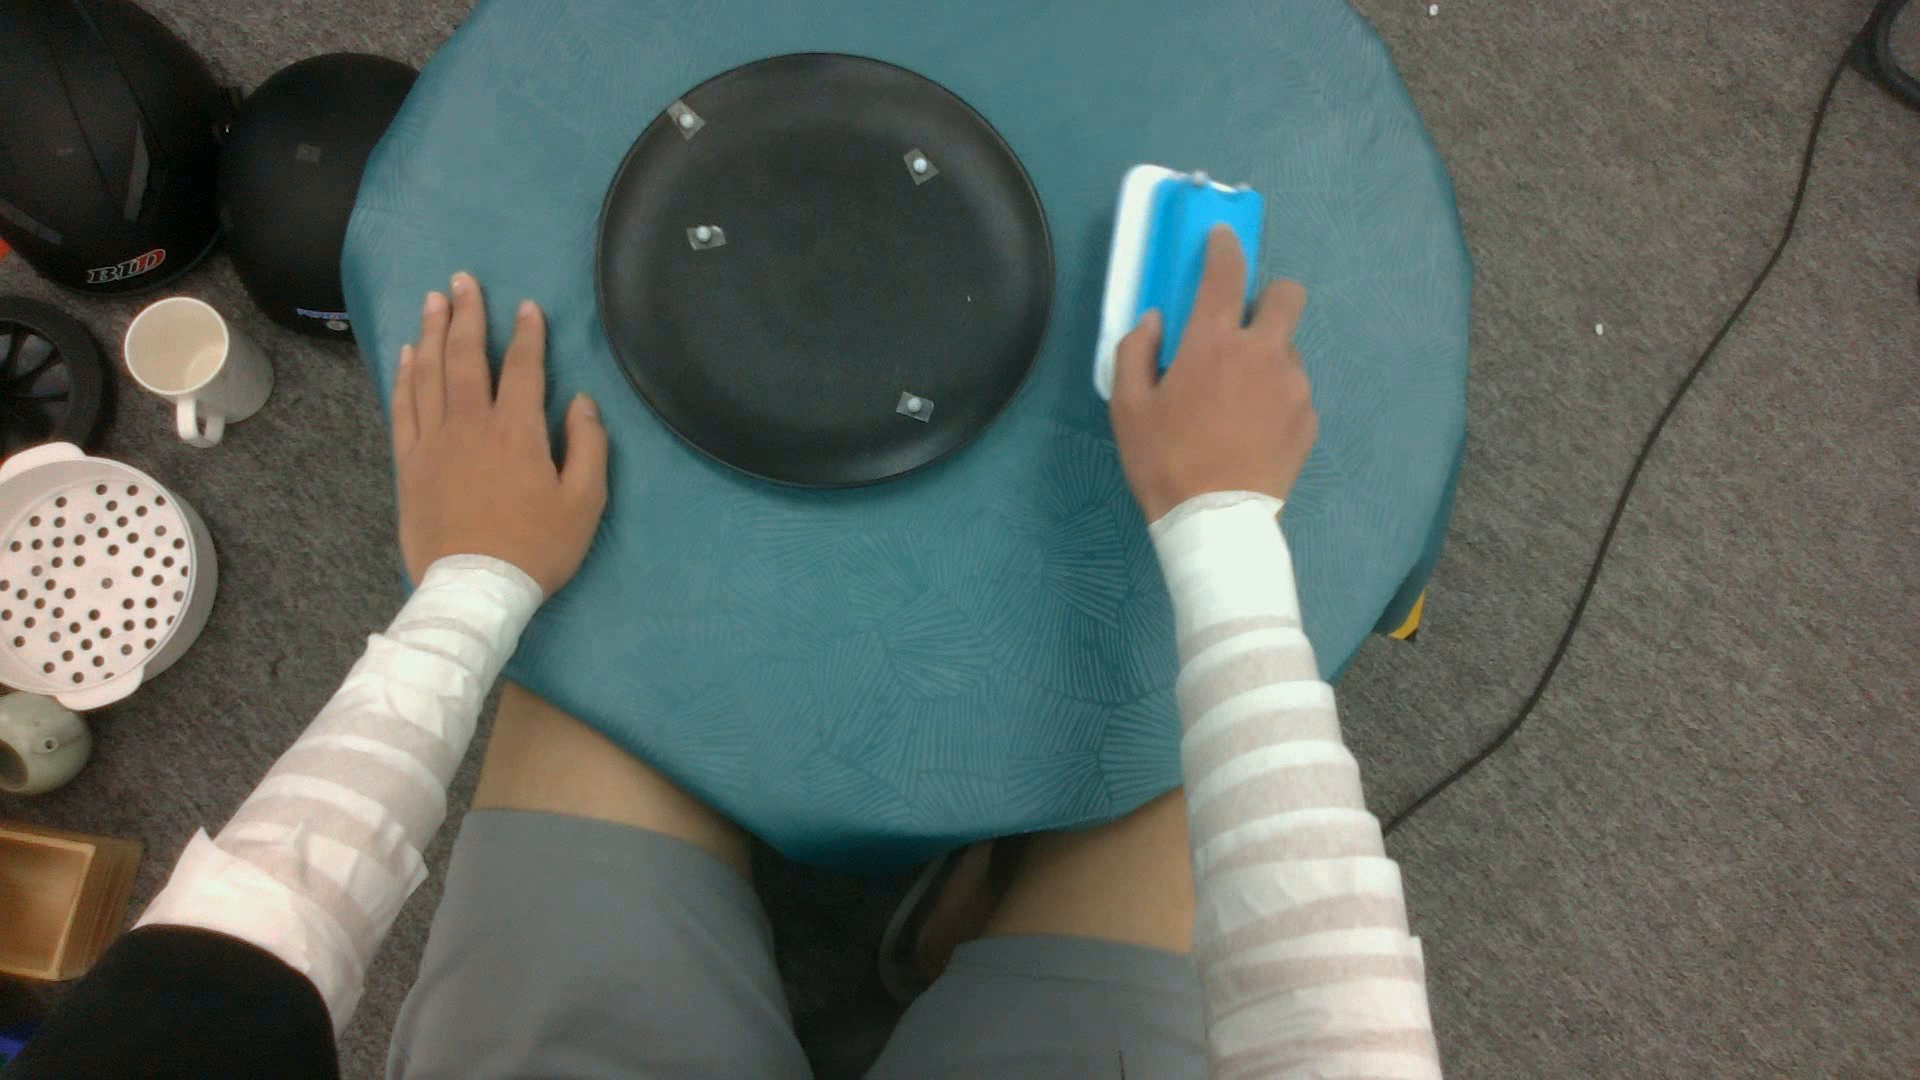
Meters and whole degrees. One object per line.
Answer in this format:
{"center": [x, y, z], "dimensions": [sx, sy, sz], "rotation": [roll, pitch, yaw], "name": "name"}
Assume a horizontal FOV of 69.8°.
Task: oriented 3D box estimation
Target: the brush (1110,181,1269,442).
{"center": [0.127, -0.126, 0.723], "dimensions": [0.084, 0.056, 0.144], "rotation": [9, 74, -10], "name": "brush"}

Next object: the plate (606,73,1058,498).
{"center": [-0.068, -0.140, 0.753], "dimensions": [0.244, 0.023, 0.245], "rotation": [1, 78, -5], "name": "plate"}
